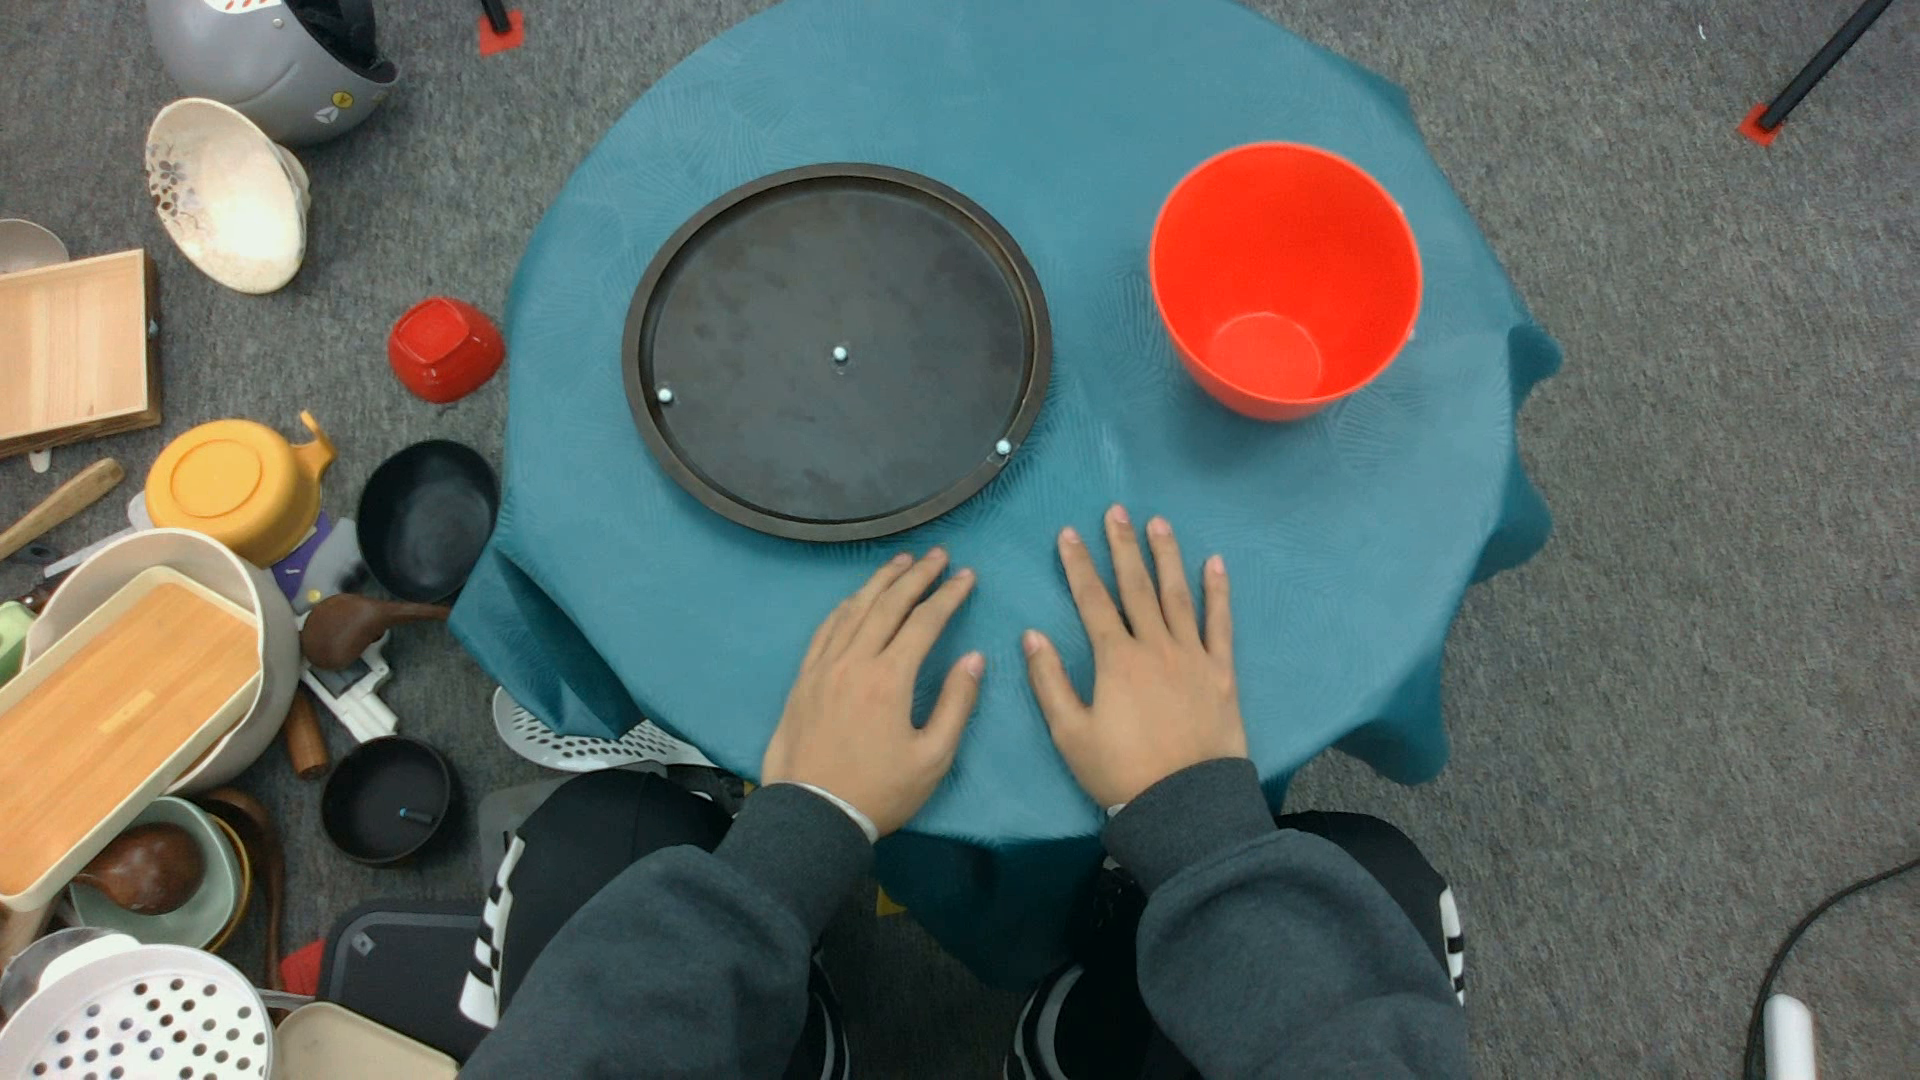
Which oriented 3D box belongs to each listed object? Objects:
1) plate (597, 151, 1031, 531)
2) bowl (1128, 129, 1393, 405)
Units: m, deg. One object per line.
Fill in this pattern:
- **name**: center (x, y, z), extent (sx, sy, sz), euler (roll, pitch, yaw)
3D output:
- **plate**: center (-0.085, -0.121, 0.811), extent (0.255, 0.029, 0.255), euler (1, 68, -2)
- **bowl**: center (0.162, -0.141, 0.781), extent (0.148, 0.104, 0.148), euler (1, 68, -2)
